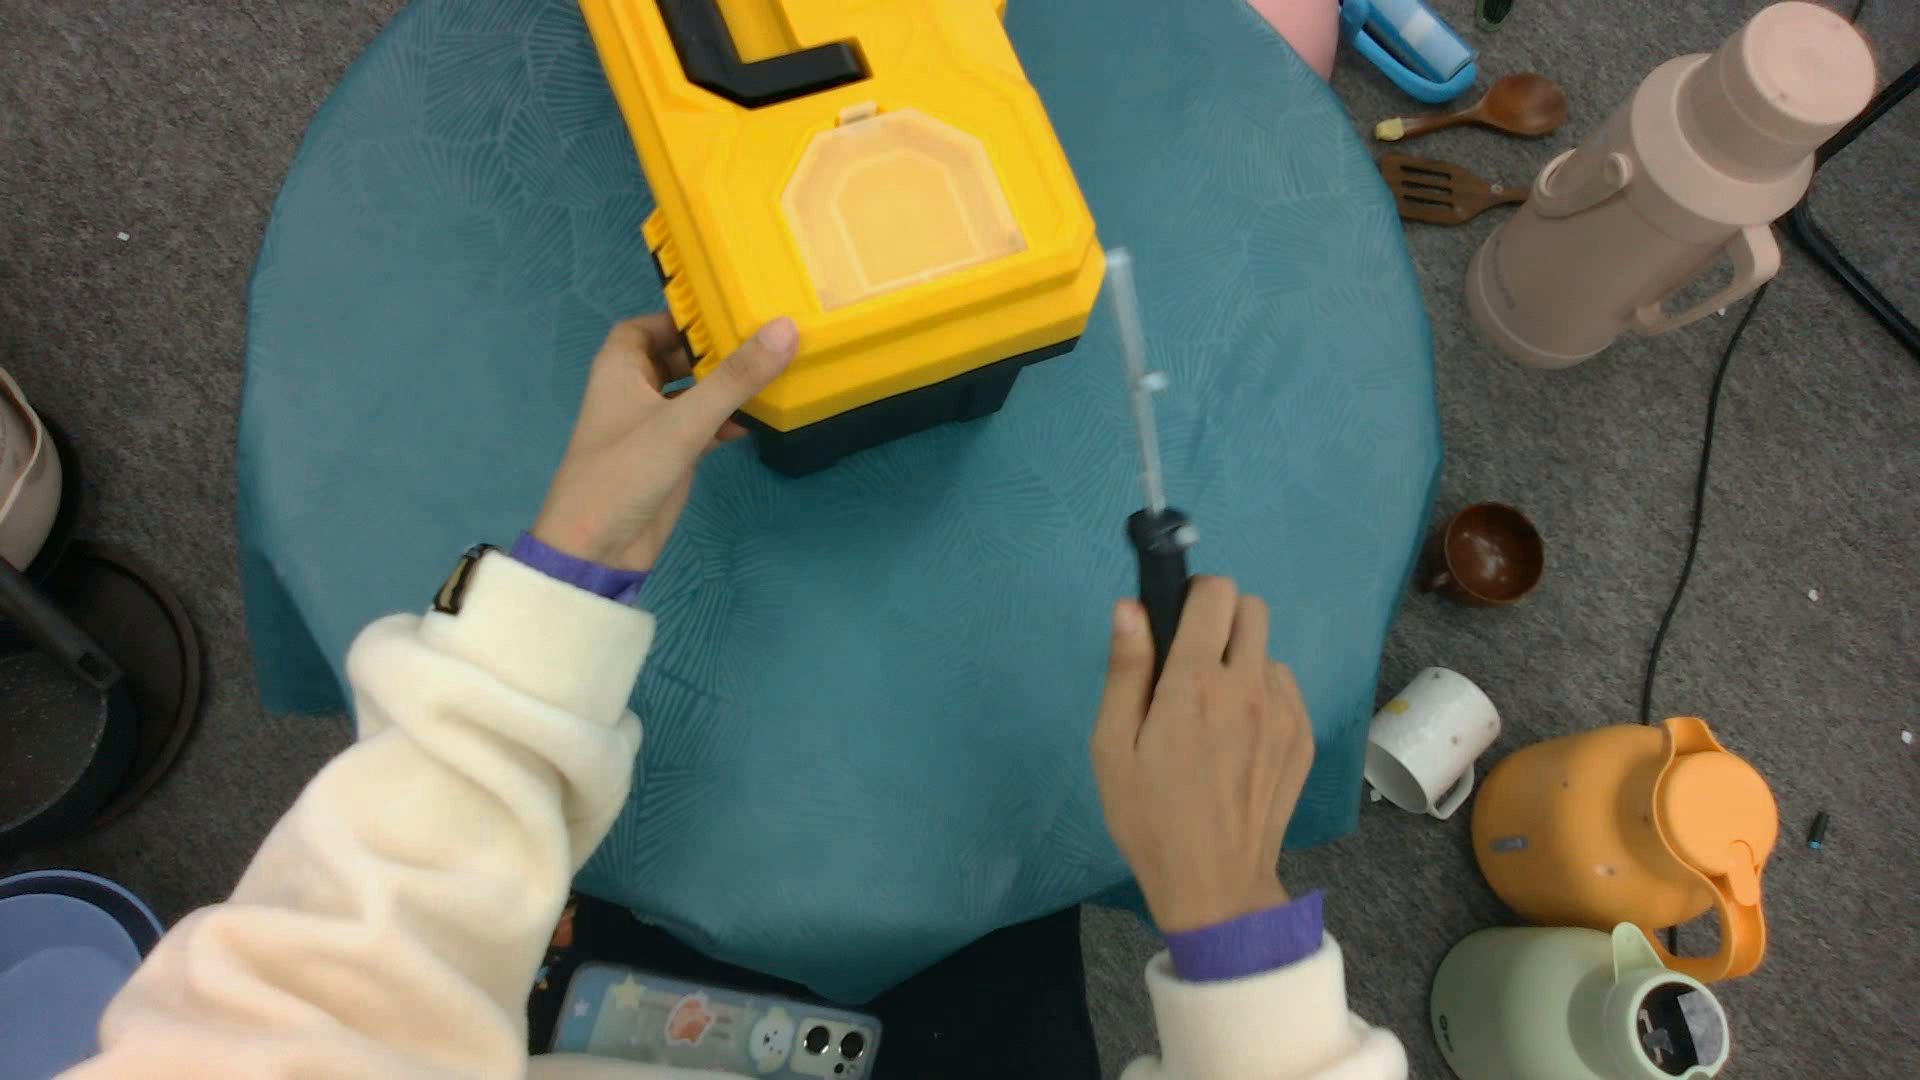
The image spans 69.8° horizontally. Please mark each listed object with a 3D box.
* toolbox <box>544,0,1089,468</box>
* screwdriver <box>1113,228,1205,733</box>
[{"bbox_3d":[-0.089,-0.218,0.636,0.181,0.172,0.352,-20,77,-13],"label":"toolbox"},{"bbox_3d":[0.073,-0.017,0.510,0.031,0.031,0.195,-10,111,-11],"label":"screwdriver"}]
